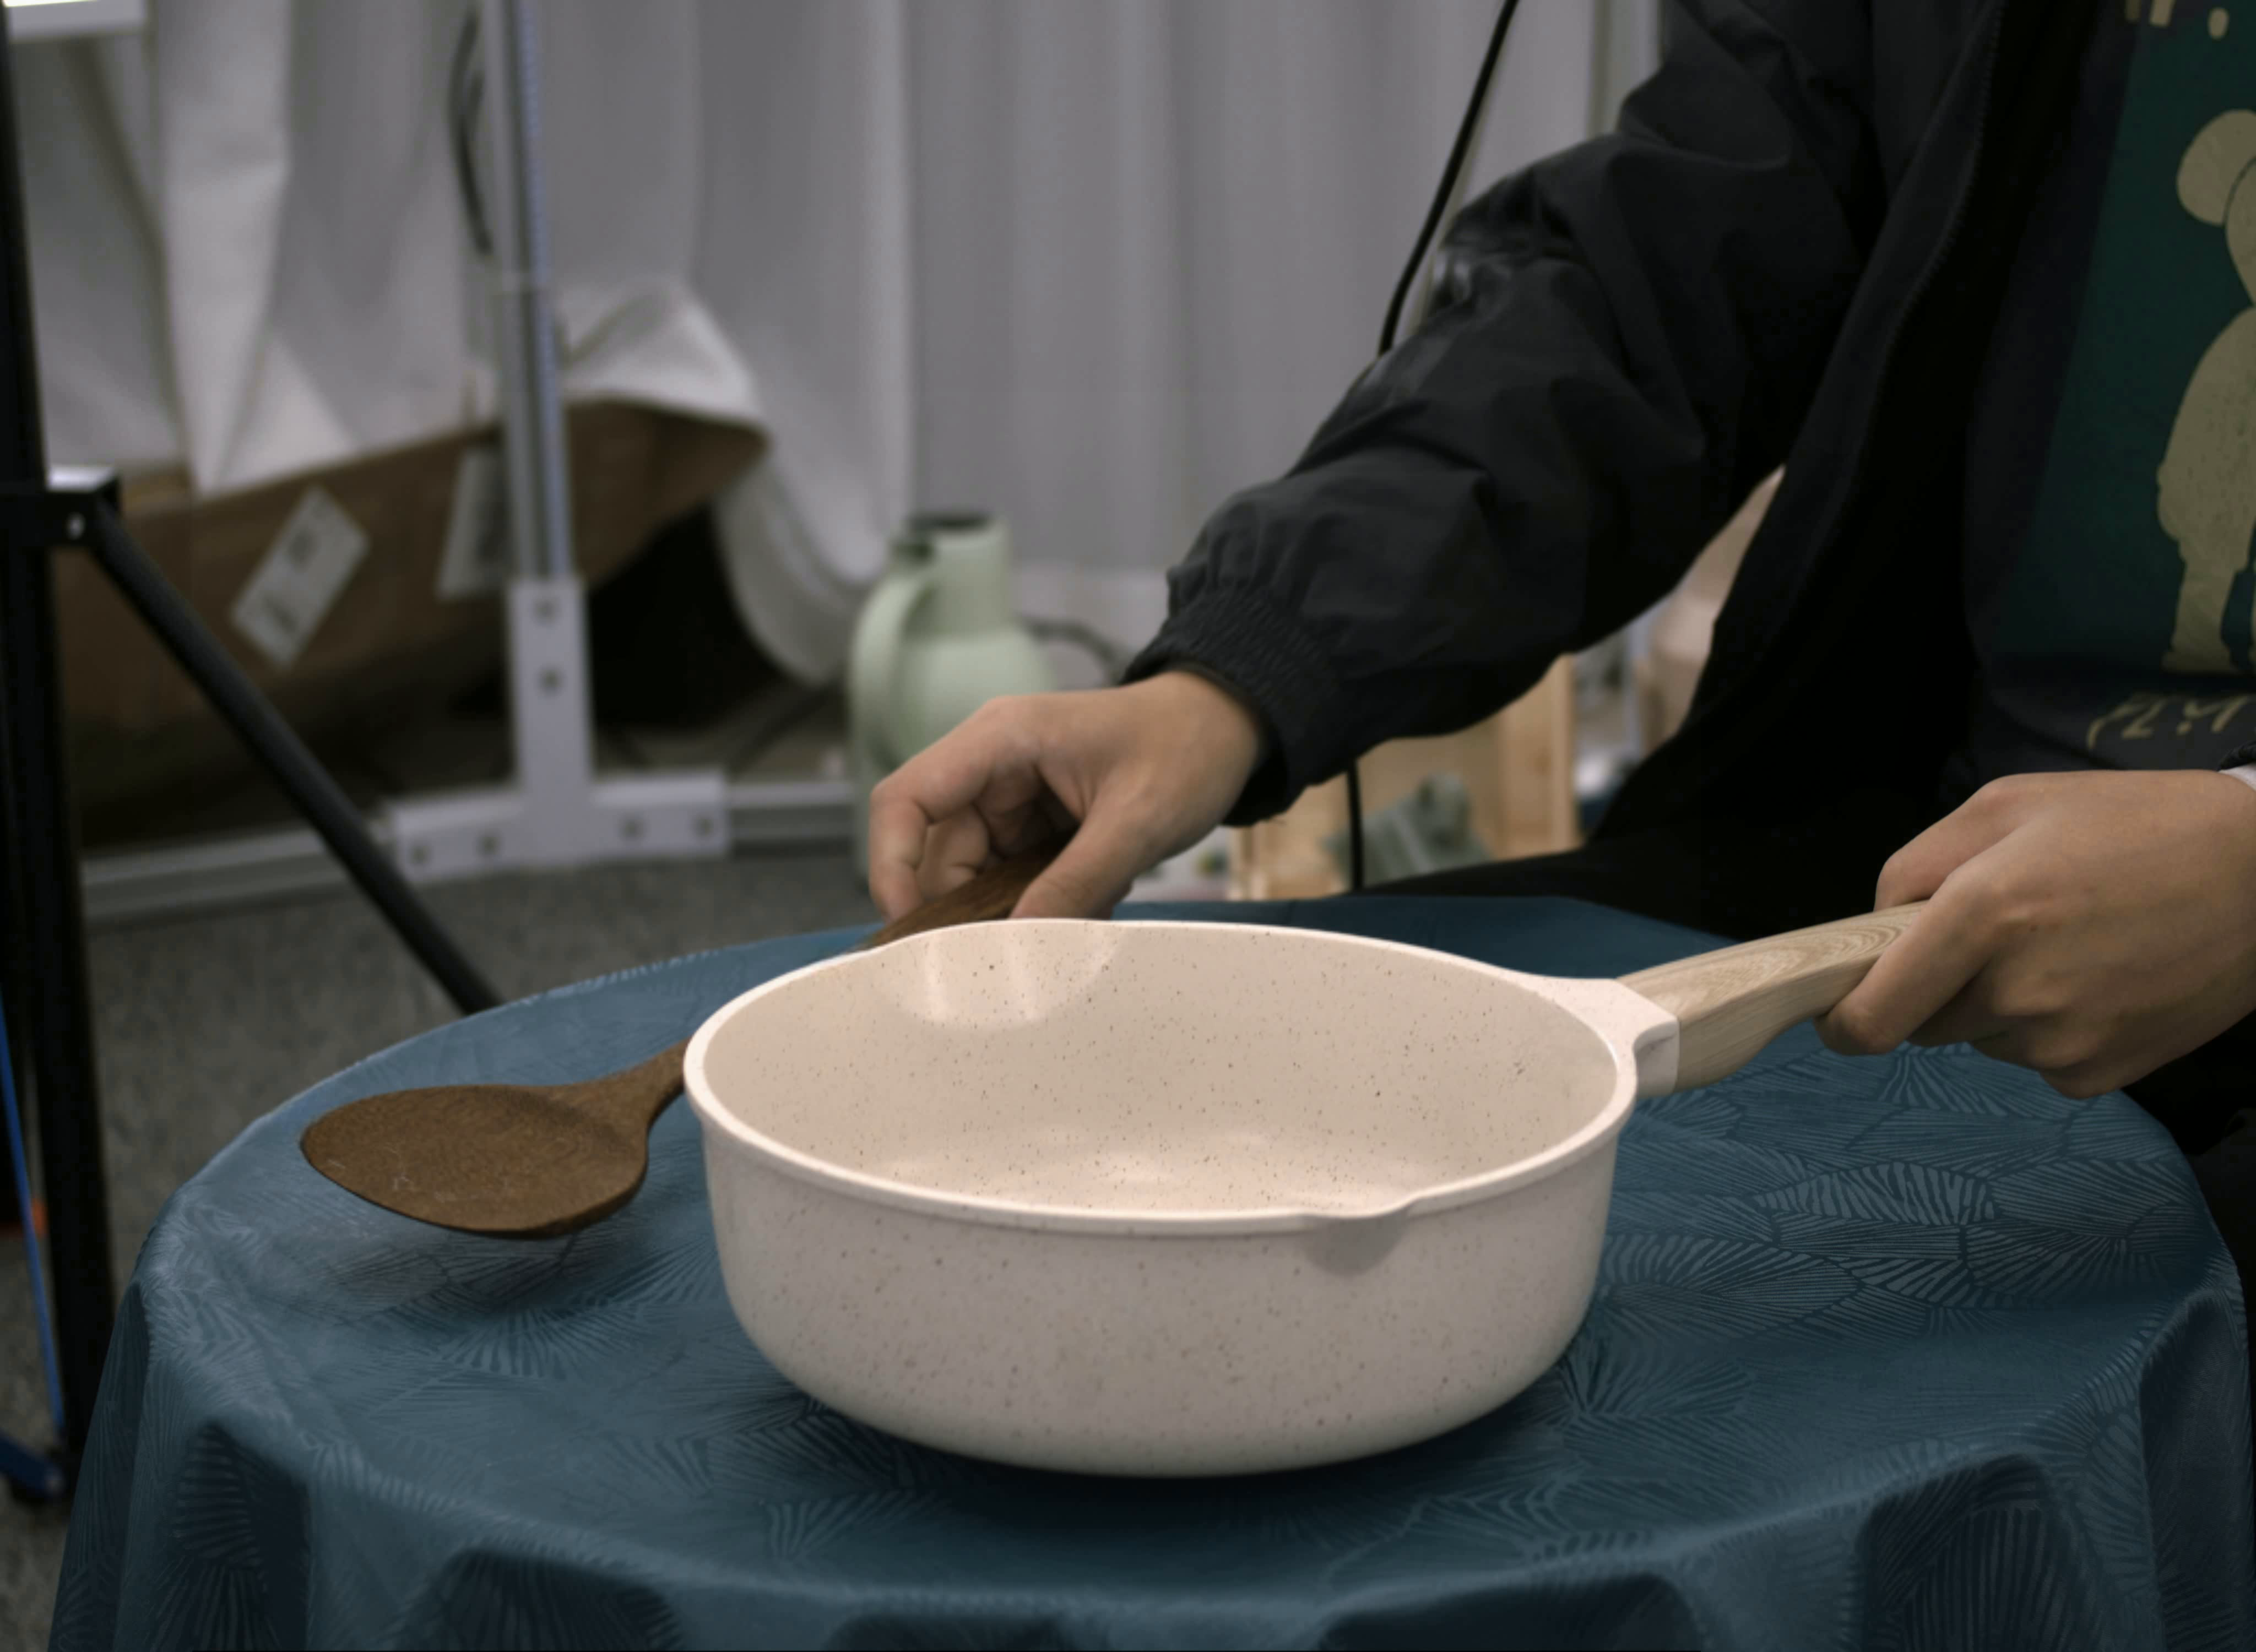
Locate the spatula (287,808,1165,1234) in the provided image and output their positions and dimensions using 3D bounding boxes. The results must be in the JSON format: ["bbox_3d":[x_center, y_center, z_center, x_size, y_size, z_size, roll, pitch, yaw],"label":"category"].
[{"bbox_3d":[-0.102,0.051,1.637,0.098,0.016,0.378,19,28,31],"label":"spatula"}]

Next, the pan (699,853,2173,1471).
[{"bbox_3d":[0.097,0.081,1.426,0.426,0.102,0.268,-6,15,-21],"label":"pan"}]
